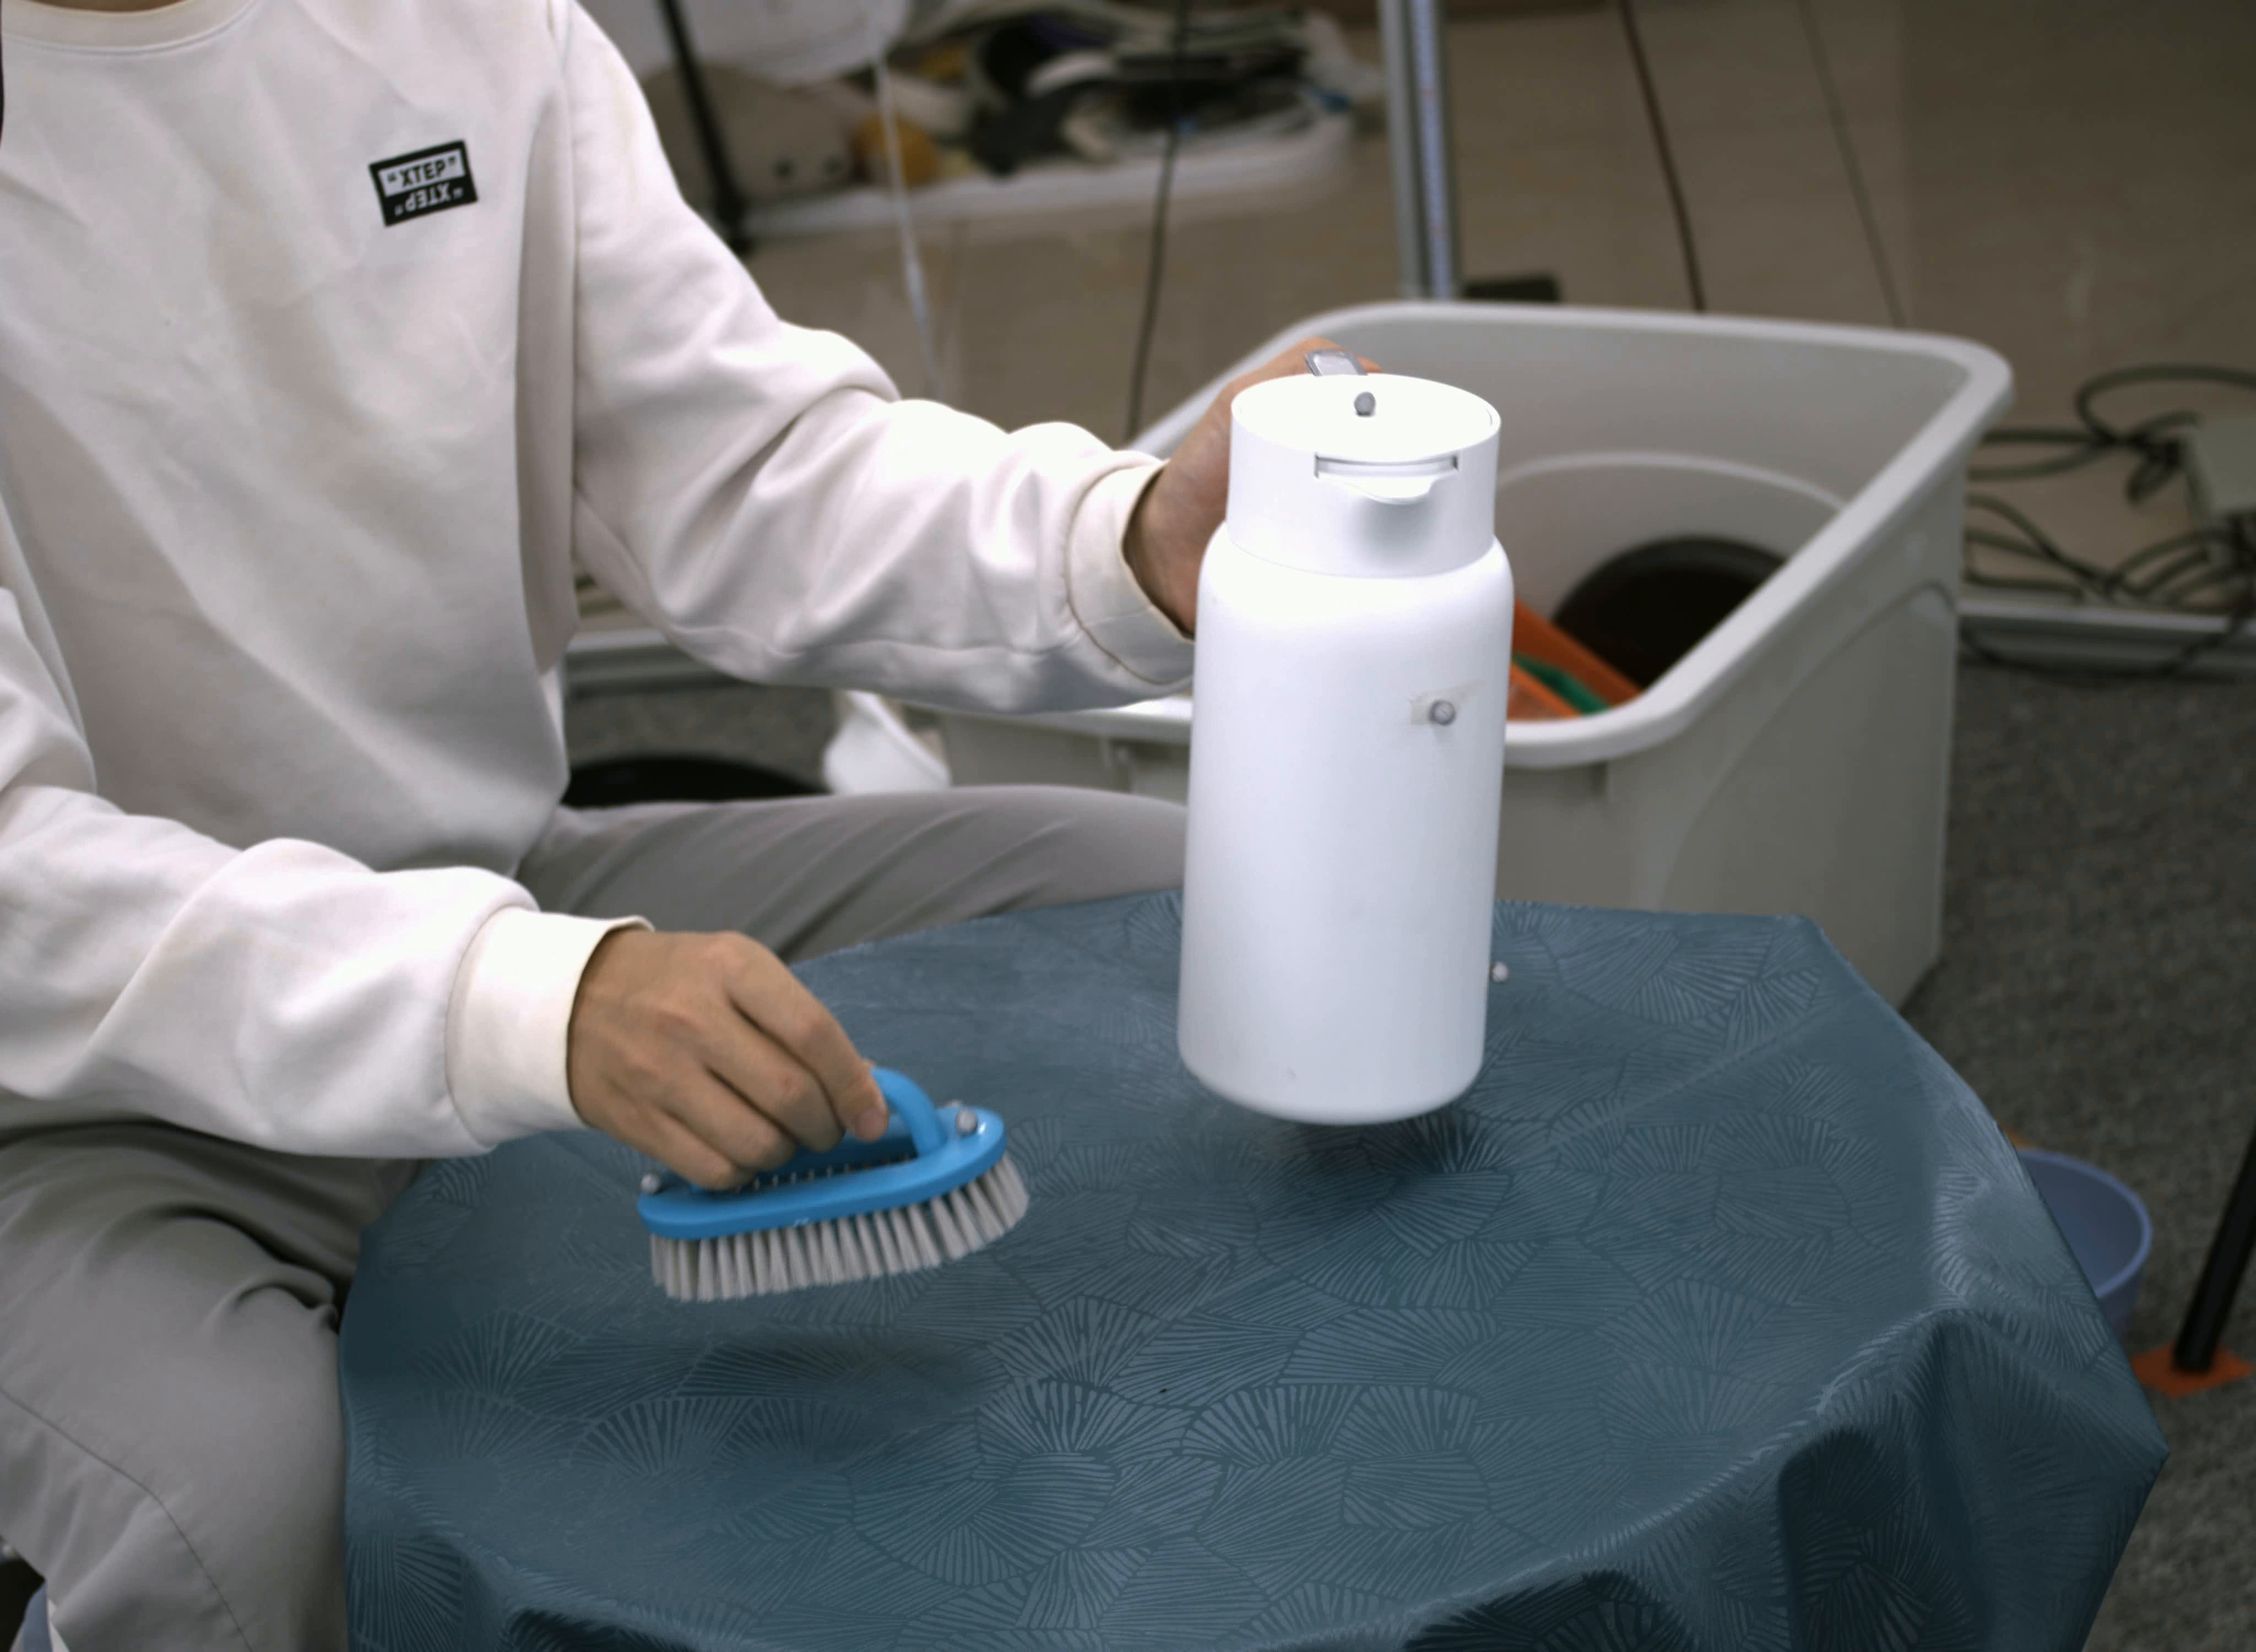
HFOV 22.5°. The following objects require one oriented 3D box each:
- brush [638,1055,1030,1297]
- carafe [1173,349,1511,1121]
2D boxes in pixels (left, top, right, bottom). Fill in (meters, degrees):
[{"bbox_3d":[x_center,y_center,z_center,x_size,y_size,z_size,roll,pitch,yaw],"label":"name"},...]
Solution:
[{"bbox_3d":[-0.110,0.117,2.019,0.142,0.064,0.083,-11,24,17],"label":"brush"},{"bbox_3d":[0.076,-0.038,2.125,0.123,0.273,0.170,-4,24,-9],"label":"carafe"}]
